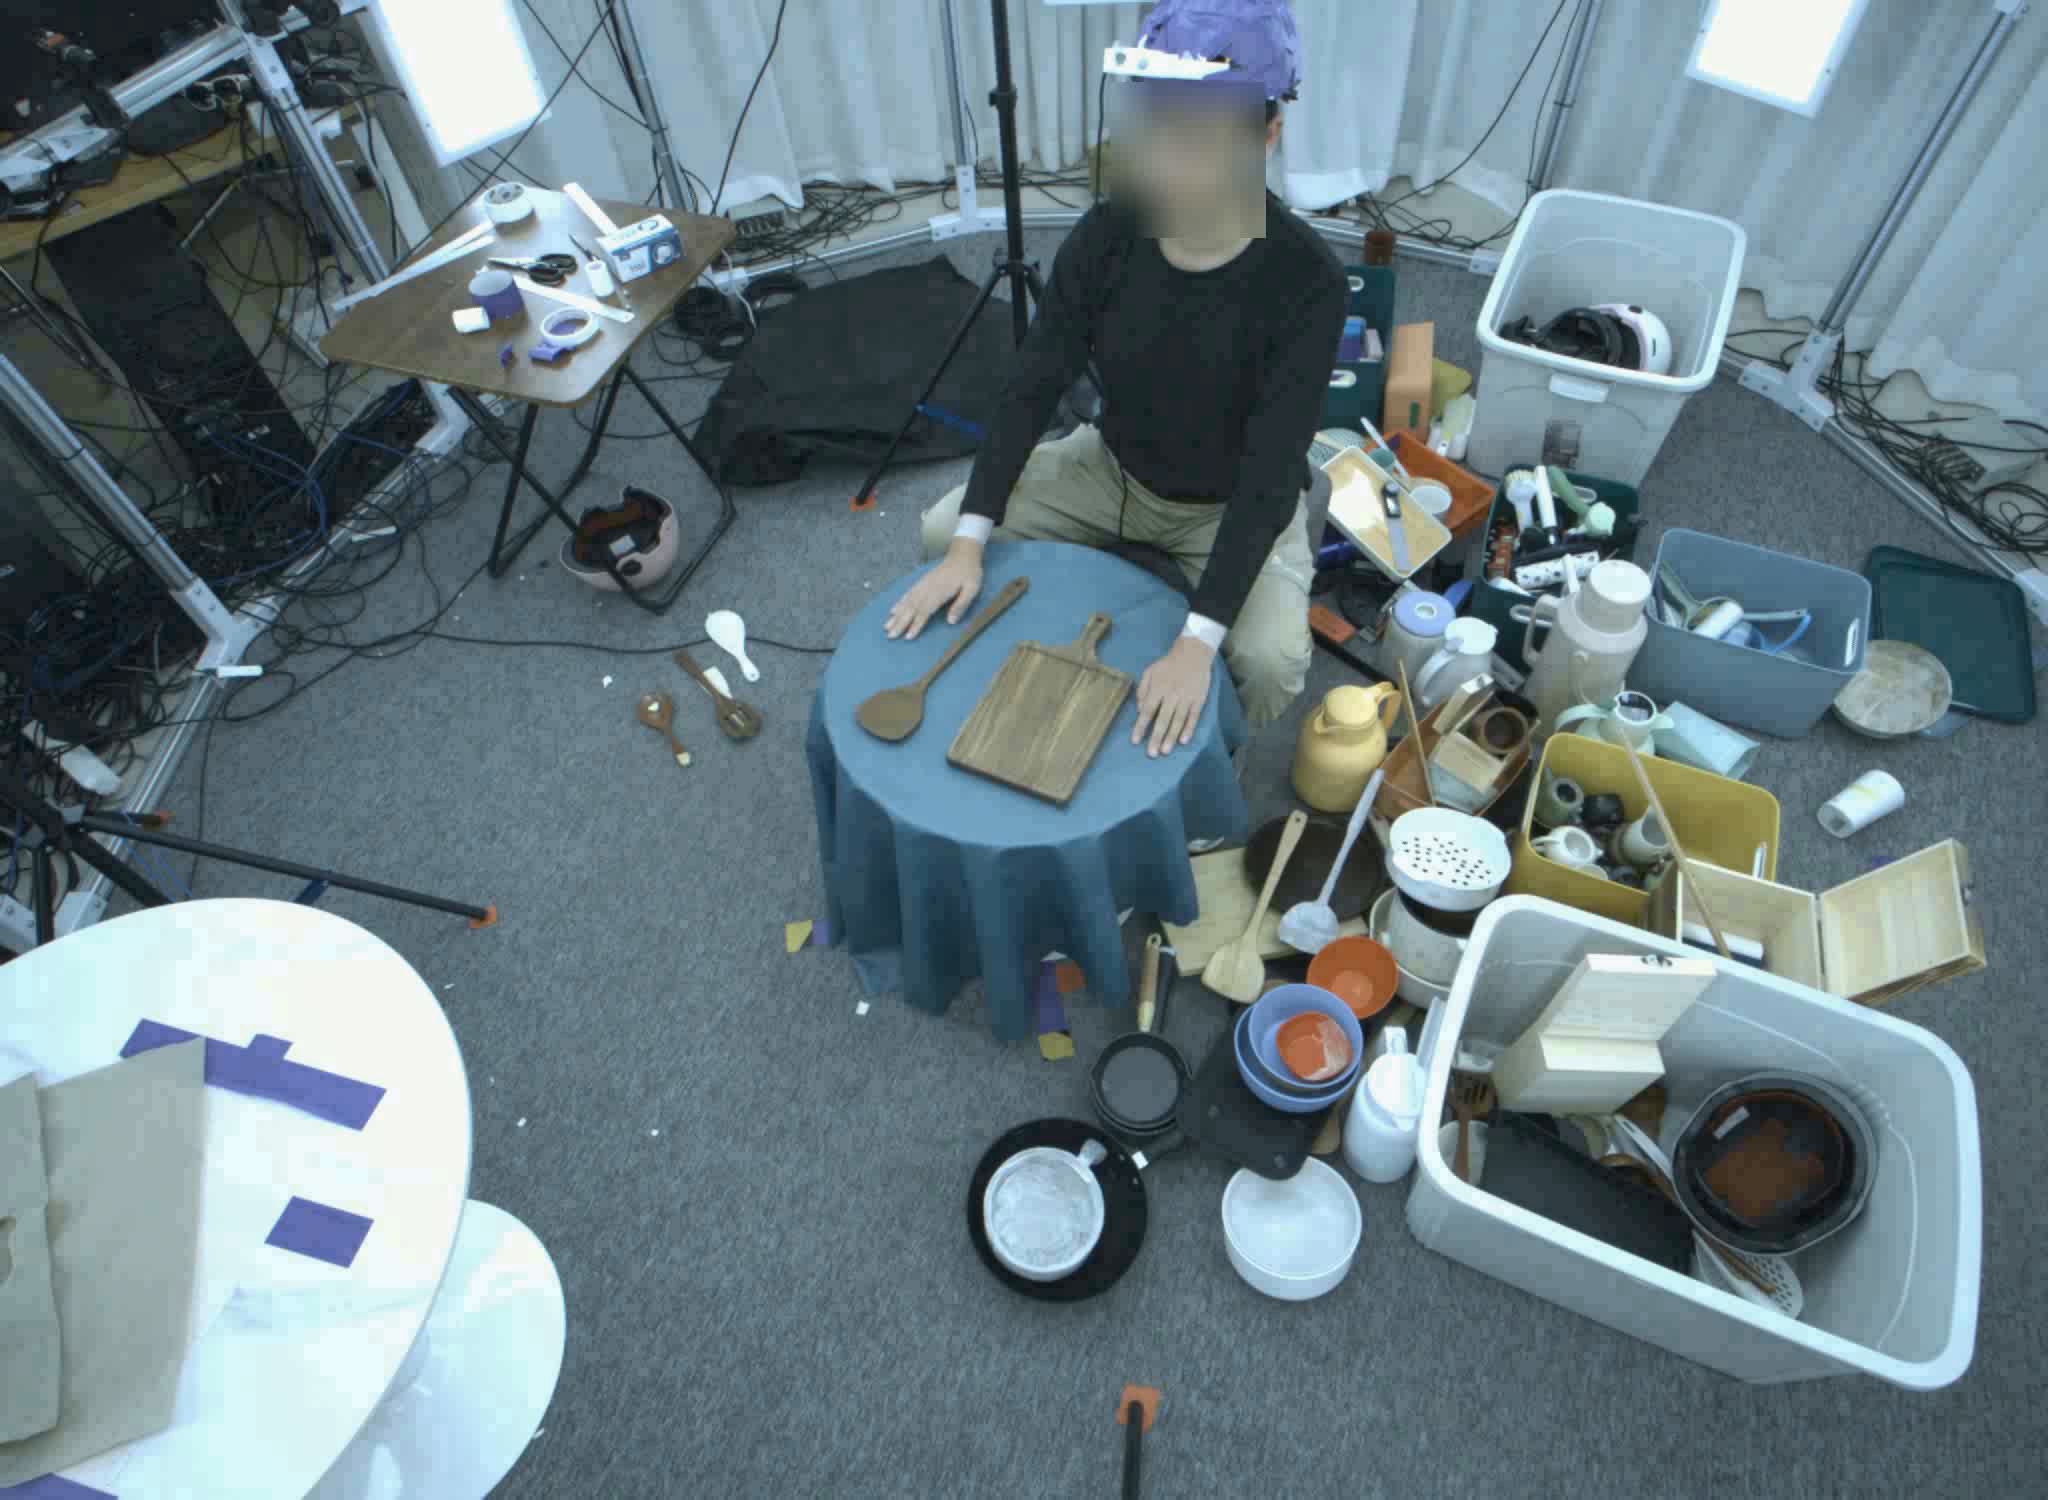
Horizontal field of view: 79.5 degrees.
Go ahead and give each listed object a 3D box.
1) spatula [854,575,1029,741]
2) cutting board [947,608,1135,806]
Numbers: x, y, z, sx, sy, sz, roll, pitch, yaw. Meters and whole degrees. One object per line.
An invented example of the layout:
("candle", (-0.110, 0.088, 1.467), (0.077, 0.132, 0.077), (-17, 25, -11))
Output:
("spatula", (-0.112, -0.154, 1.891), (0.094, 0.016, 0.388), (30, 61, 21))
("cutting board", (0.049, -0.083, 1.832), (0.199, 0.023, 0.352), (21, 58, 15))
